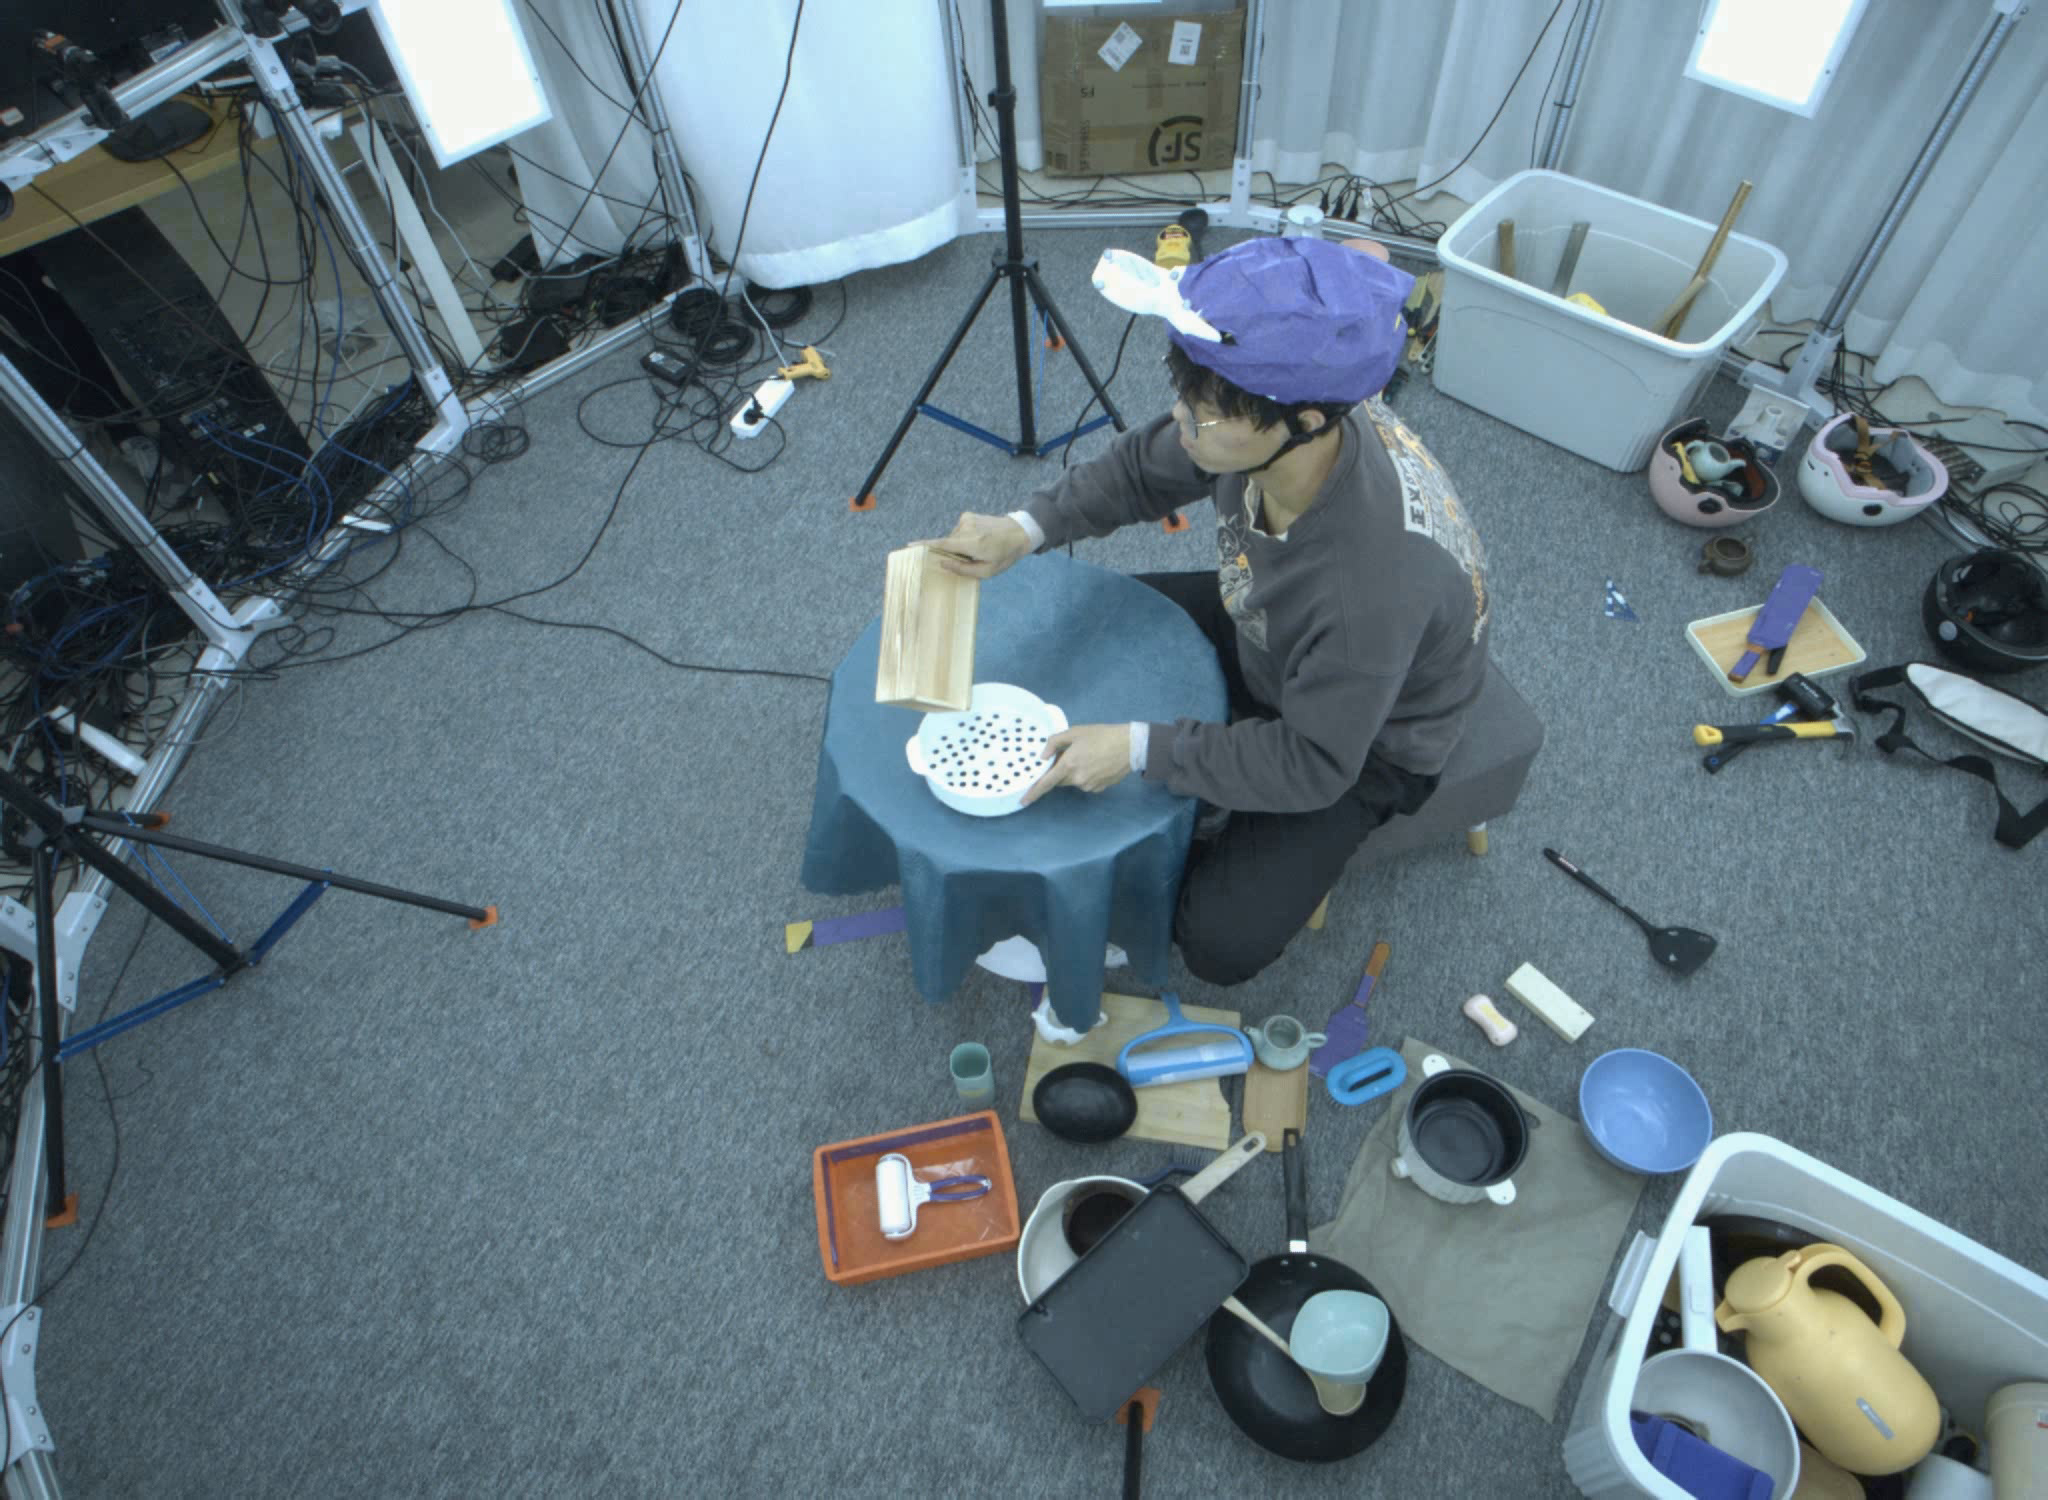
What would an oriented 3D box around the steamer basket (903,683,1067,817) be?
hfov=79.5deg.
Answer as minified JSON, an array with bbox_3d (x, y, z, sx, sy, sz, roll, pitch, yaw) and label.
[{"bbox_3d":[-0.054,0.002,1.743,0.232,0.070,0.198,-12,55,-8],"label":"steamer basket"}]

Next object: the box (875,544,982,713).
[{"bbox_3d":[-0.132,-0.165,1.694,0.078,0.110,0.211,-1,82,44],"label":"box"}]
